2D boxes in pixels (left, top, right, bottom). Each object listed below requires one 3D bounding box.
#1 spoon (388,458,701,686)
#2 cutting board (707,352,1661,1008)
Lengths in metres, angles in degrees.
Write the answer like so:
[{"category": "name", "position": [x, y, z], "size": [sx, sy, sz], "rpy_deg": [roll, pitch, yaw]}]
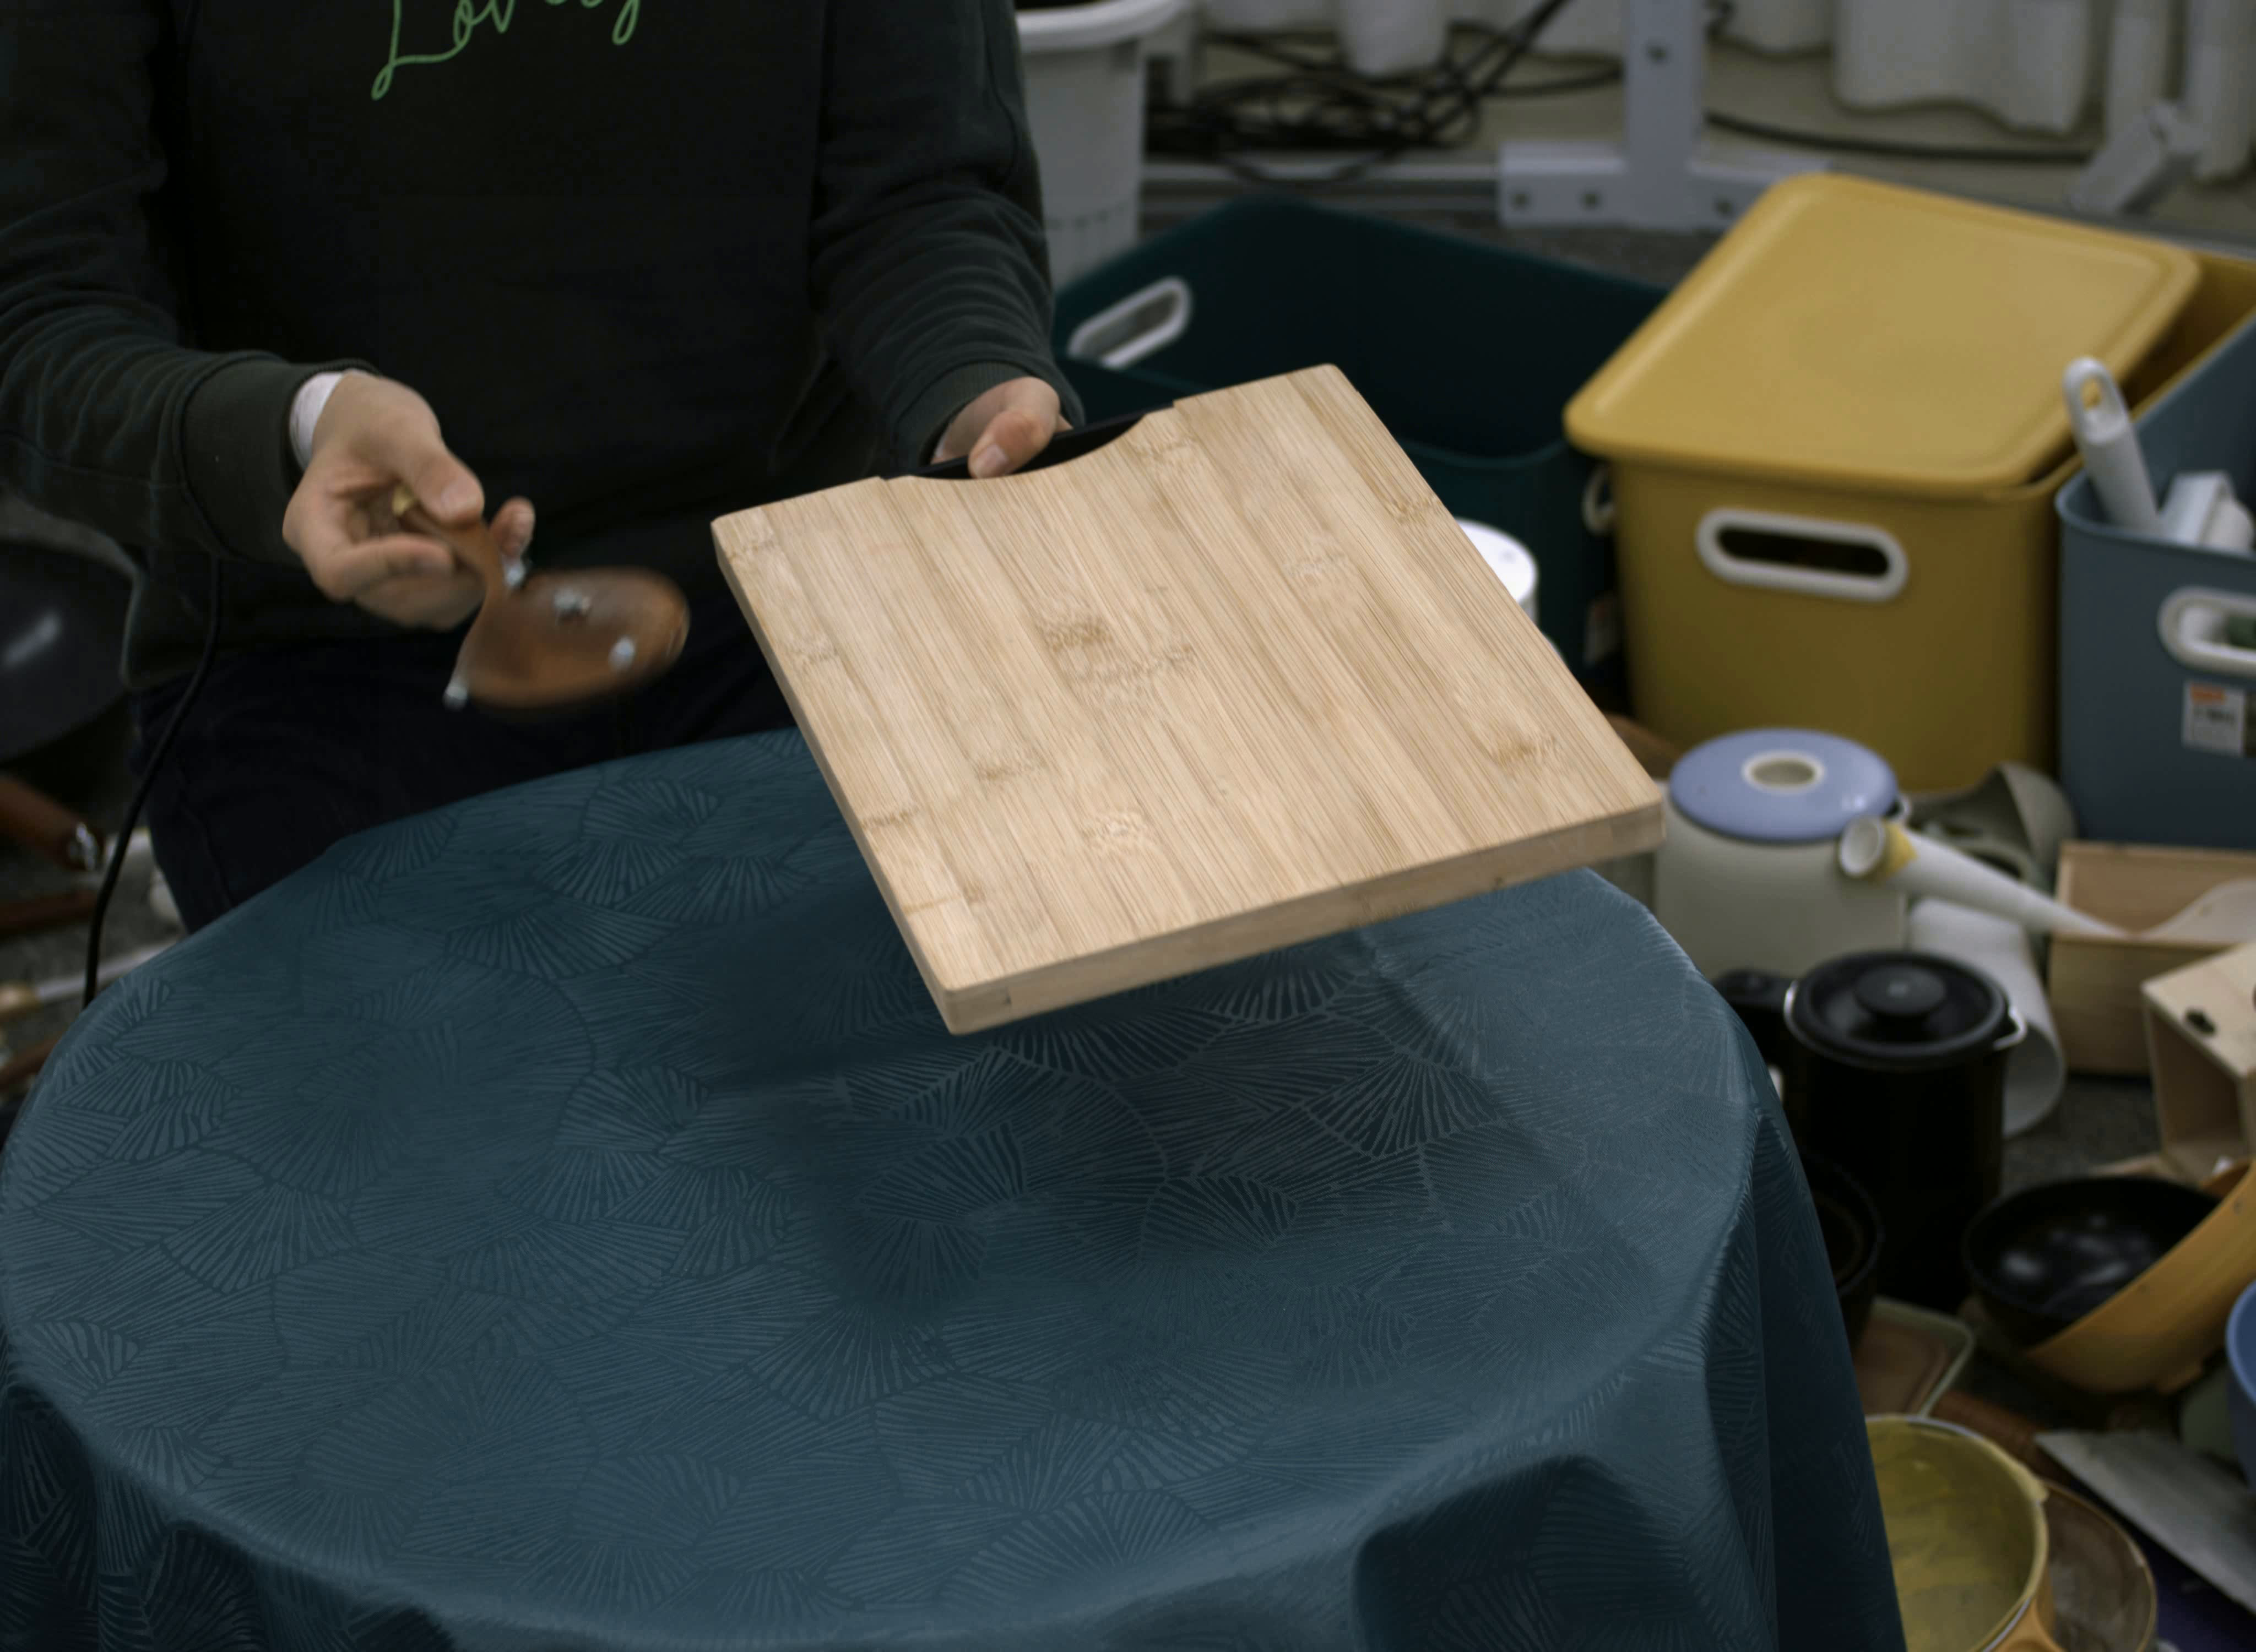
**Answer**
[{"category": "spoon", "position": [-0.200, -0.086, 1.865], "size": [0.076, 0.017, 0.216], "rpy_deg": [-27, 29, -16]}, {"category": "cutting board", "position": [0.009, -0.057, 1.912], "size": [0.251, 0.023, 0.352], "rpy_deg": [-14, 31, -11]}]
